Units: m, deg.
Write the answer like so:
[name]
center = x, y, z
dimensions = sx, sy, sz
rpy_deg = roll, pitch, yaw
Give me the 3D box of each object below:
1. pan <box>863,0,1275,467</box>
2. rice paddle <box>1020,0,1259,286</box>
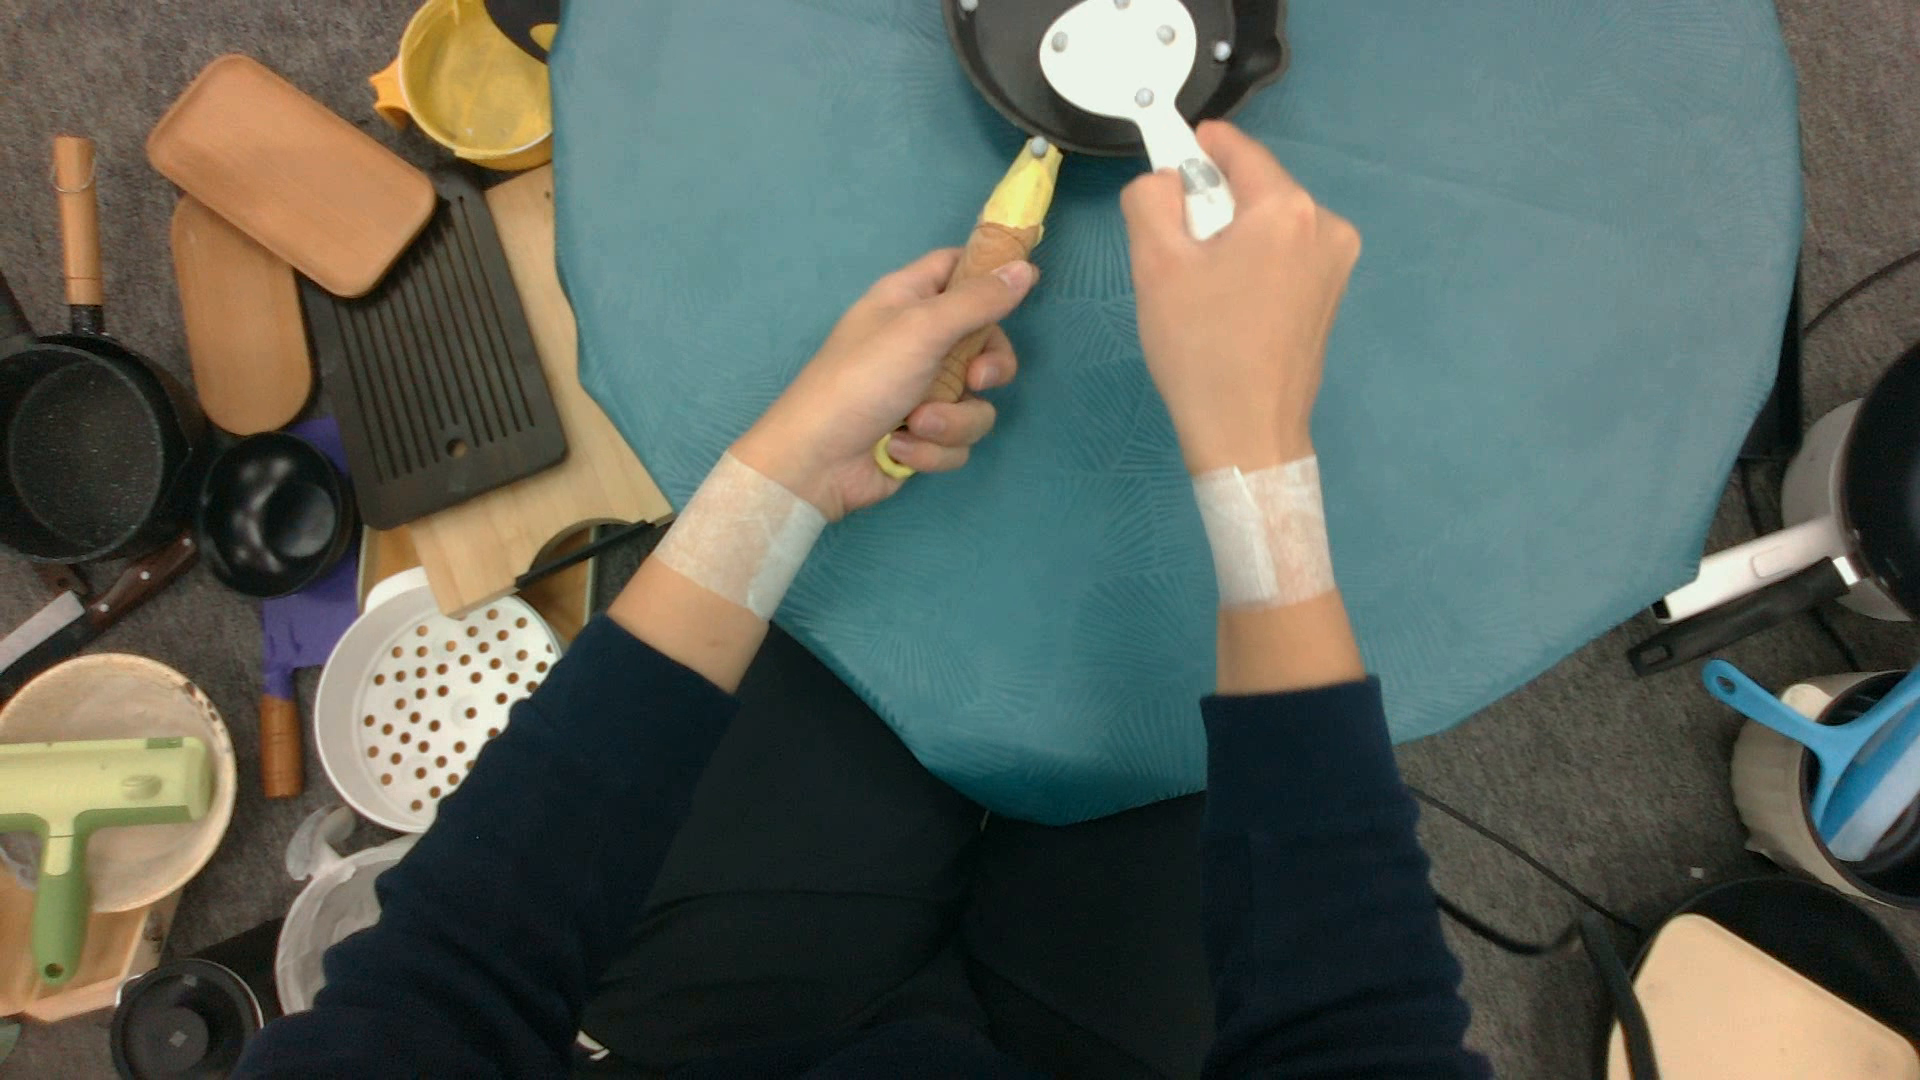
[pan]
center = 0.030, -0.176, 0.620
dimensions = 0.169, 0.049, 0.325
rpy_deg = 25, 79, 1
[rice paddle]
center = 0.075, -0.184, 0.588
dimensions = 0.069, 0.029, 0.206
rpy_deg = -21, 50, 5
